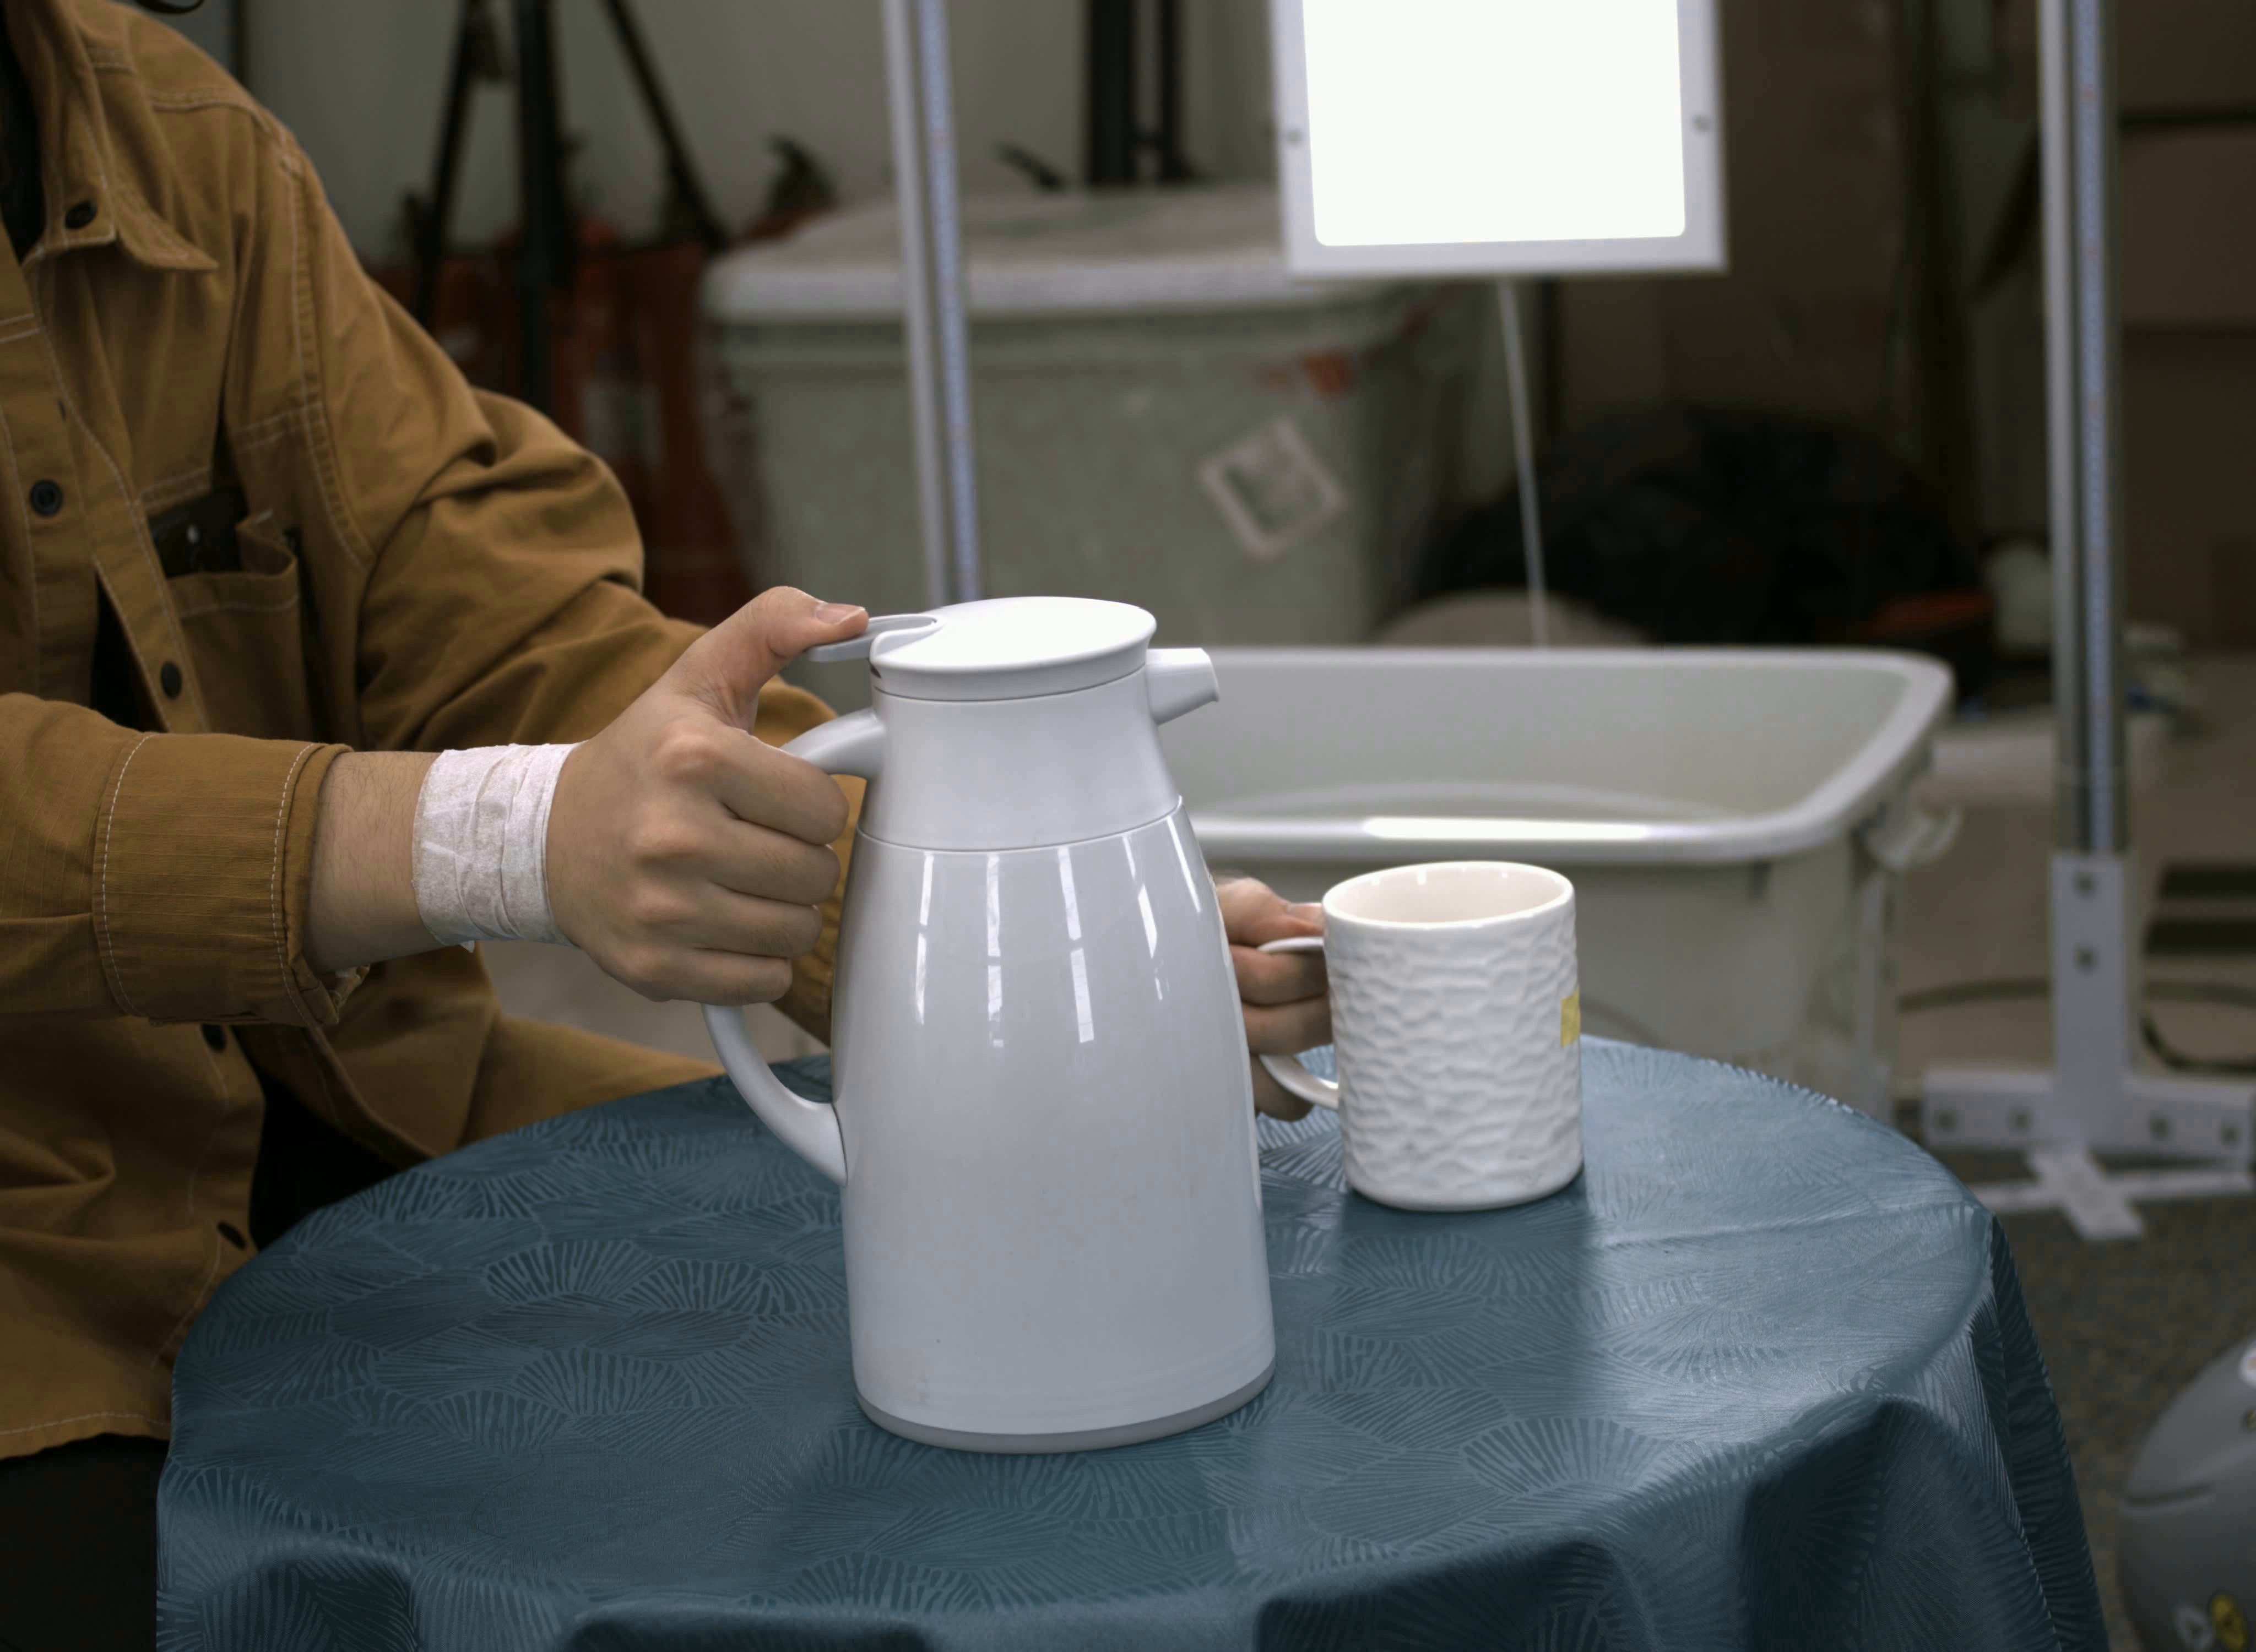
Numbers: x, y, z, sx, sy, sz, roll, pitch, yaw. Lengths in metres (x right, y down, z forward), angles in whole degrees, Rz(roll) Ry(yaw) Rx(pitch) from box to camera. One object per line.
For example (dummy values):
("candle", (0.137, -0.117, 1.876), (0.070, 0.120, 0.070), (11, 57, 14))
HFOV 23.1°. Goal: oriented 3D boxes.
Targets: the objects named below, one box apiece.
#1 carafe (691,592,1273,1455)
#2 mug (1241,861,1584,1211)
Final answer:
("carafe", (-0.047, 0.056, 1.683), (0.166, 0.249, 0.133), (-7, 15, -8))
("mug", (0.096, 0.071, 1.876), (0.120, 0.102, 0.083), (0, 14, 25))
